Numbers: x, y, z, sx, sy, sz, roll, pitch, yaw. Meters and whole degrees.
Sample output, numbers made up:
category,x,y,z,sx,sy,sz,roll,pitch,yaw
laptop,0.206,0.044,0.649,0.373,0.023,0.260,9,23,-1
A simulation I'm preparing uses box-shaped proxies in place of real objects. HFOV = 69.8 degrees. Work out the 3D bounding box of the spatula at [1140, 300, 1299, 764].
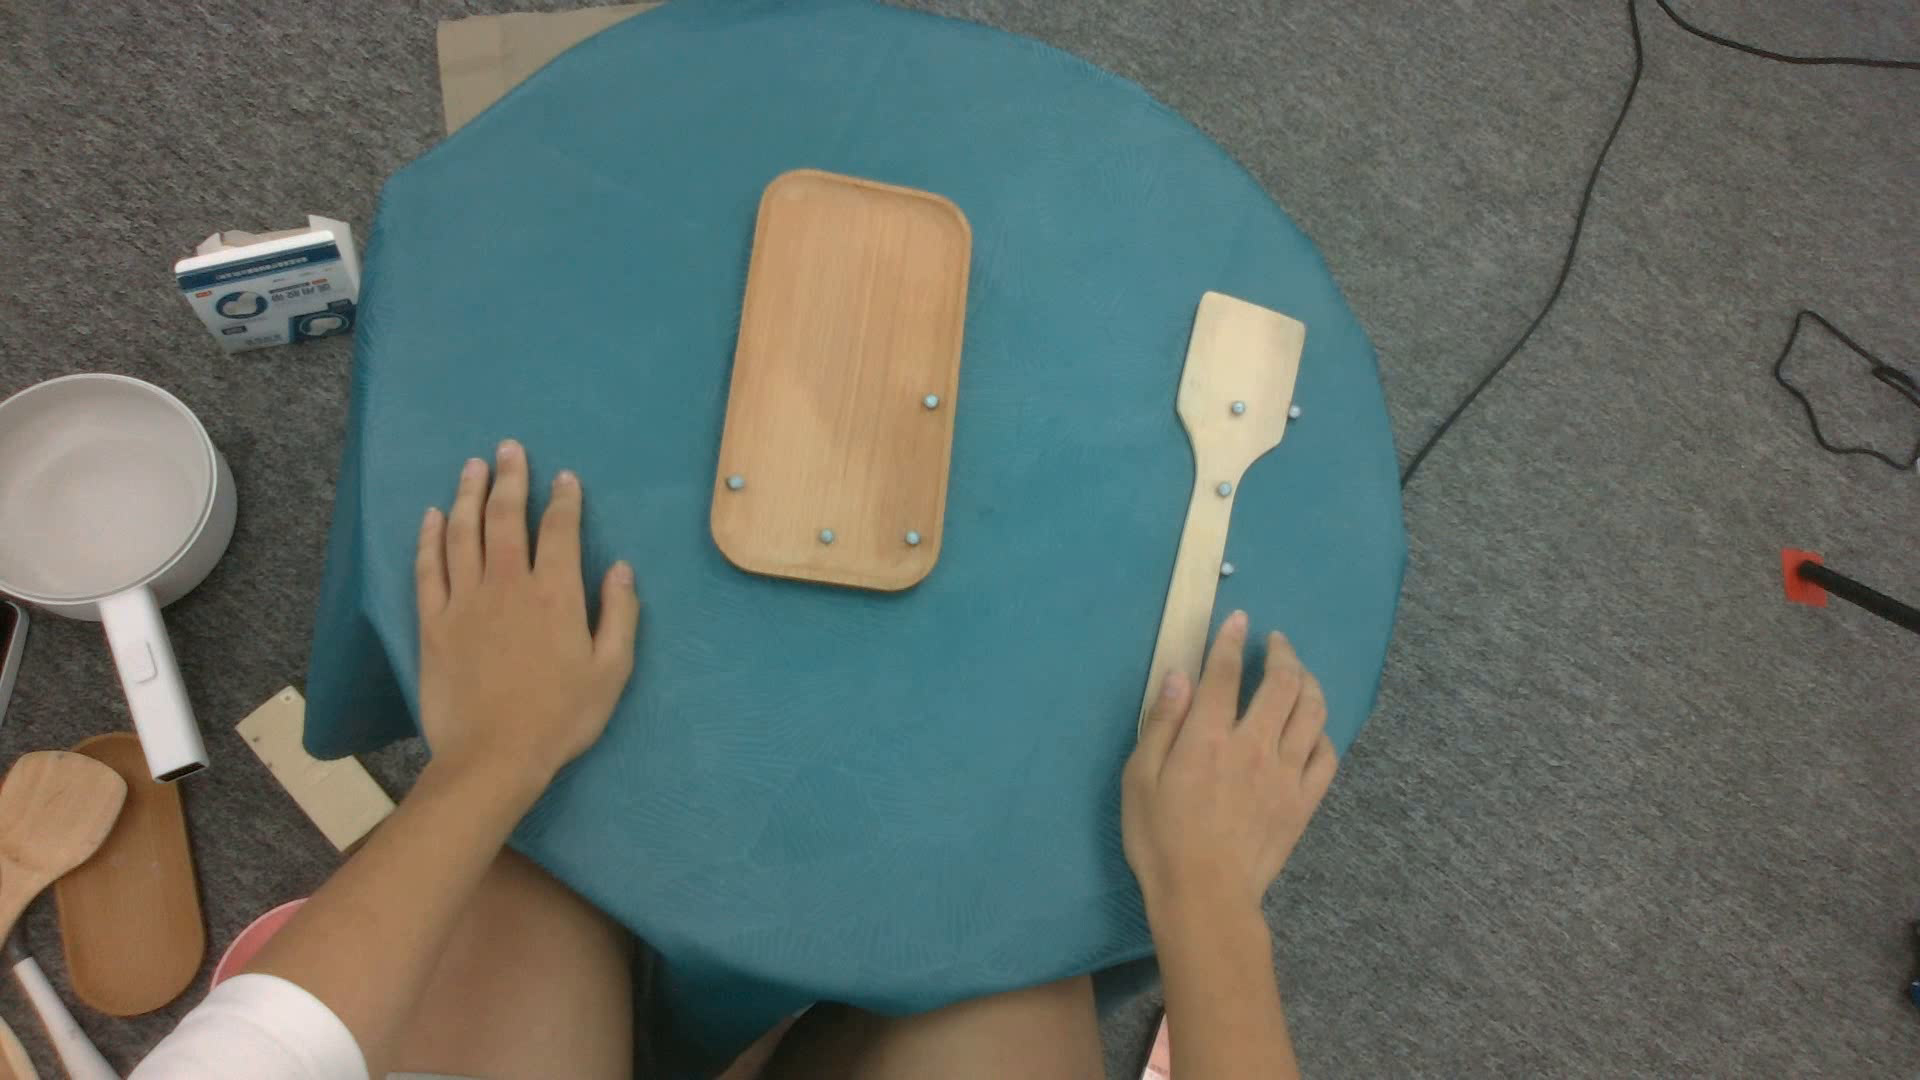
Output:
category,x,y,z,sx,sy,sz,roll,pitch,yaw
spatula,0.148,-0.009,0.819,0.072,0.010,0.294,17,69,-6

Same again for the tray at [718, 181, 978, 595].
category,x,y,z,sx,sy,sz,roll,pitch,yaw
tray,-0.062,-0.092,0.803,0.130,0.023,0.251,10,70,-10
